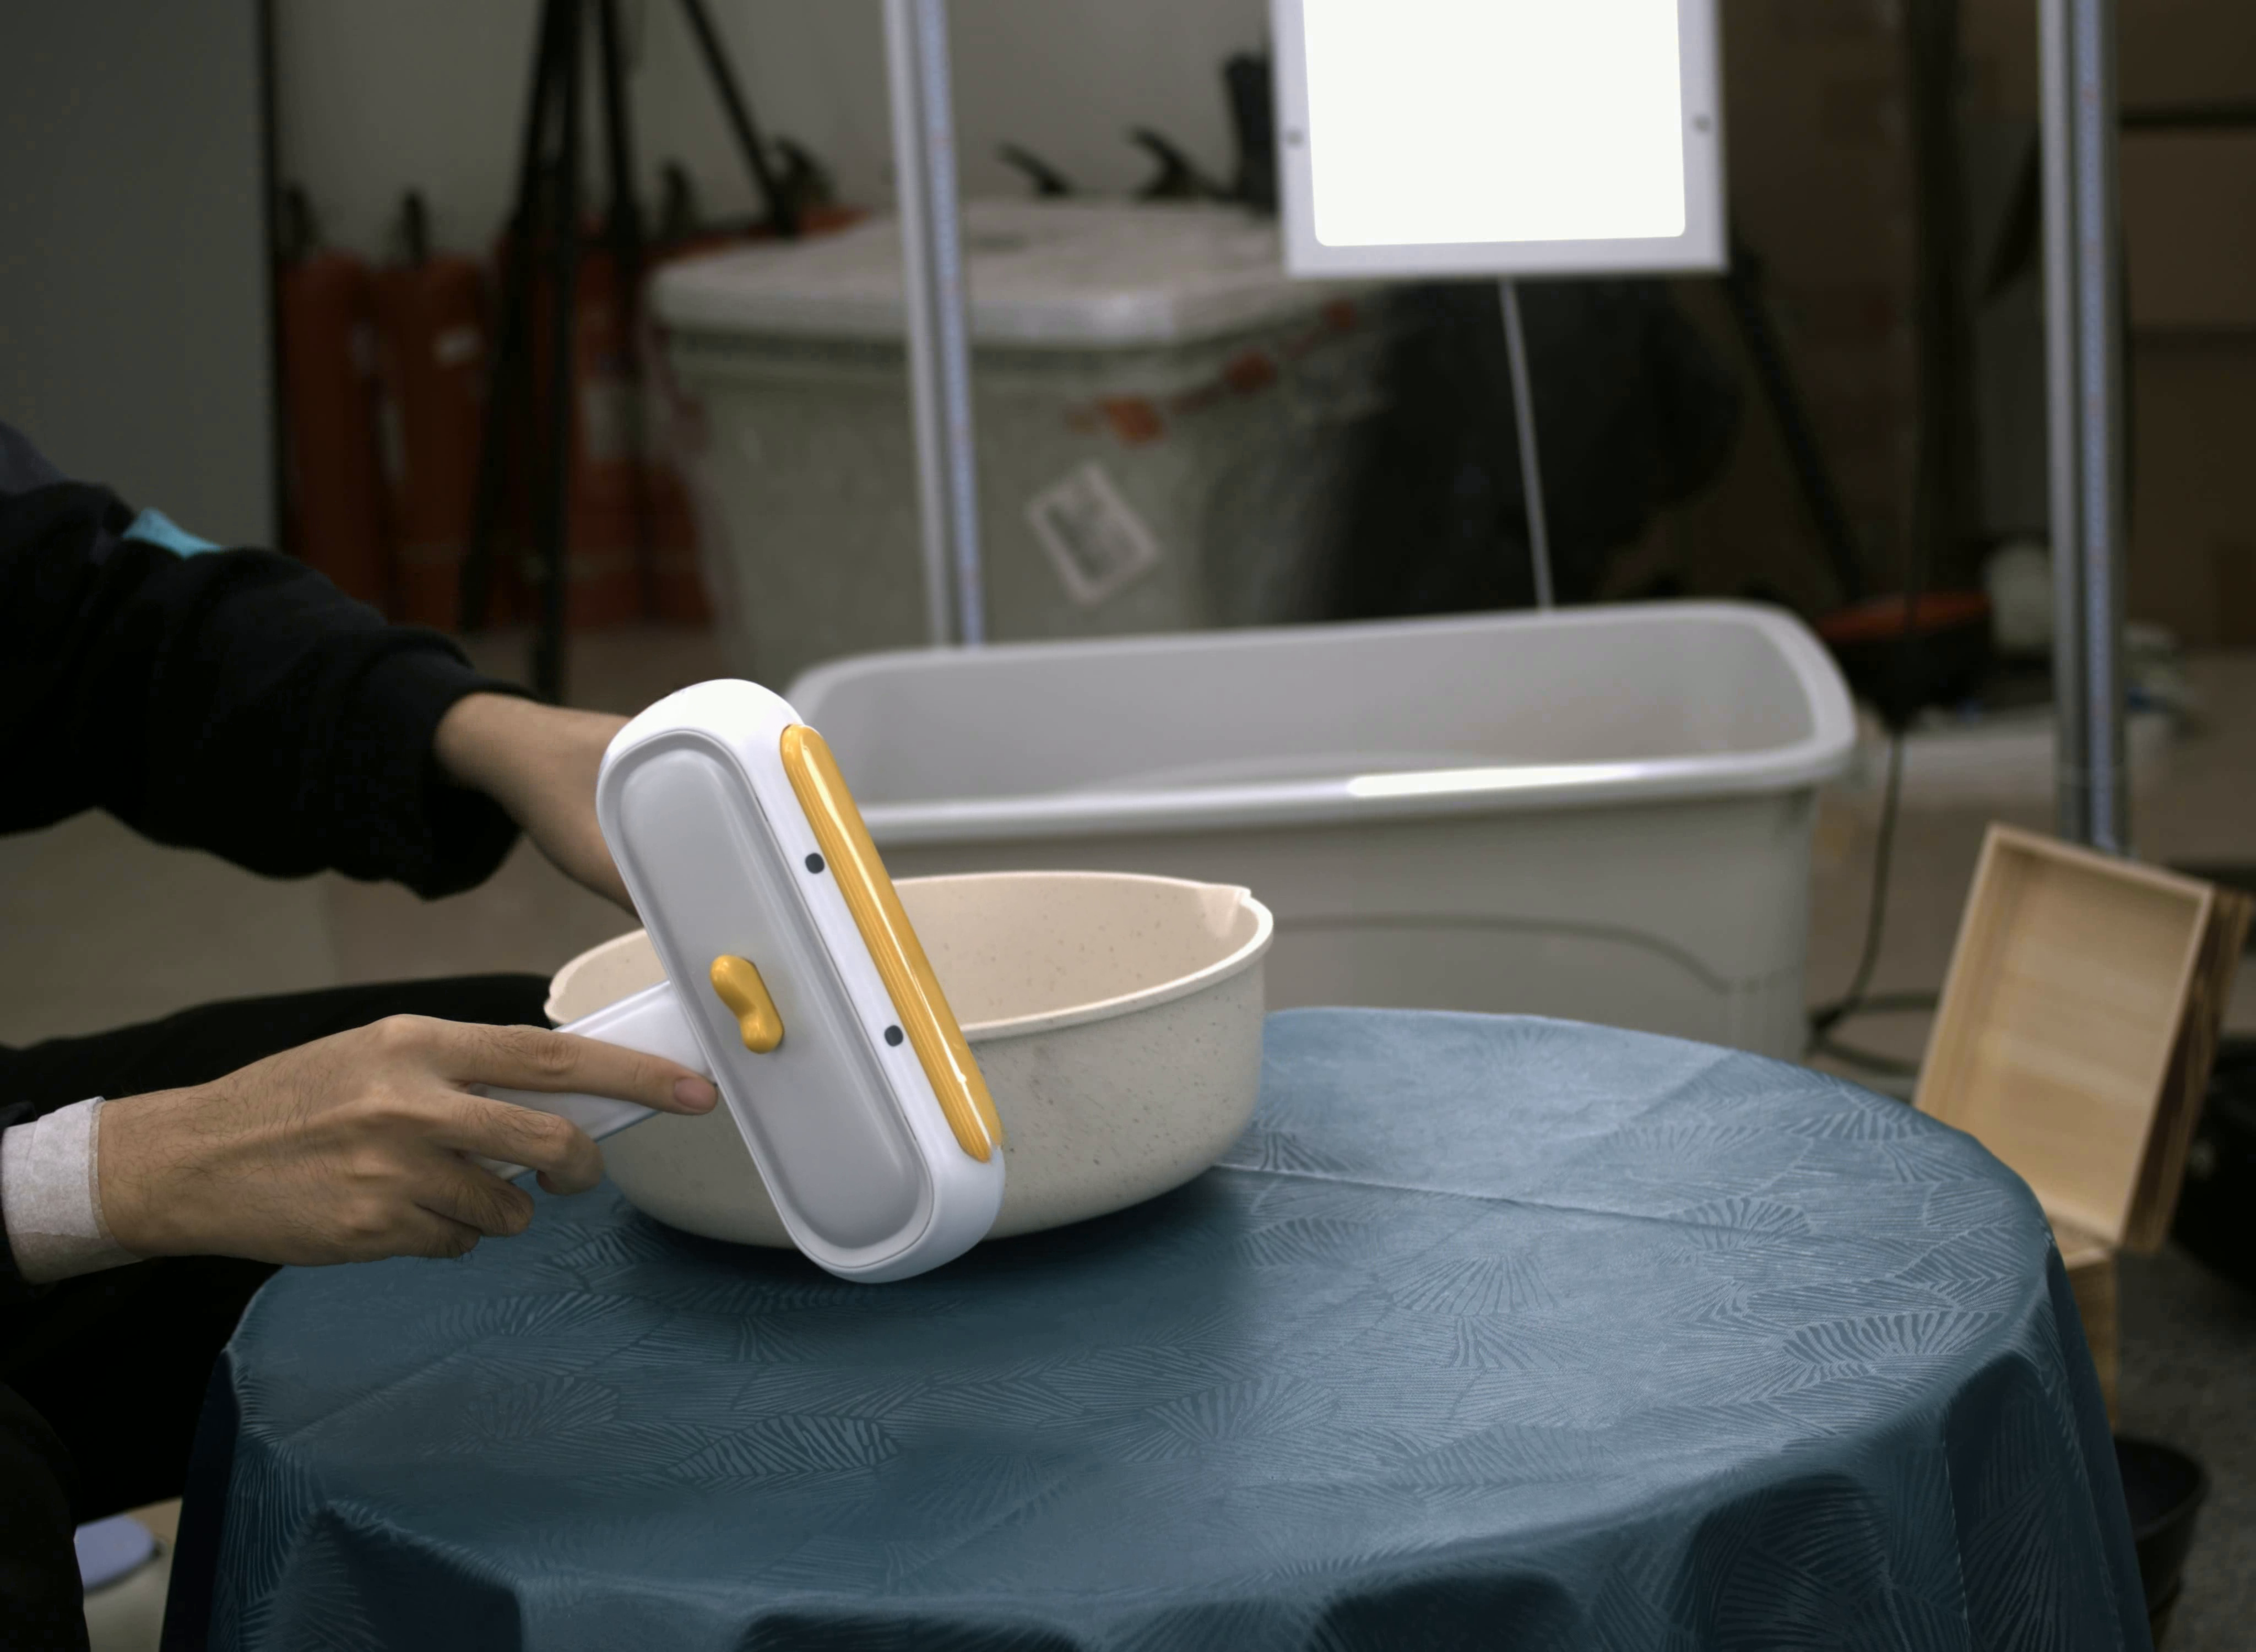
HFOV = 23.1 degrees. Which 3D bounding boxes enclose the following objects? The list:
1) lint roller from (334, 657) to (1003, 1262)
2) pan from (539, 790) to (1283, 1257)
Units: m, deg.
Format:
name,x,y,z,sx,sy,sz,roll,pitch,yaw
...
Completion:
name,x,y,z,sx,sy,sz,roll,pitch,yaw
lint roller,-0.155,0.070,1.690,0.195,0.193,0.073,-29,3,18
pan,-0.110,0.063,1.988,0.258,0.102,0.442,-14,14,-25
